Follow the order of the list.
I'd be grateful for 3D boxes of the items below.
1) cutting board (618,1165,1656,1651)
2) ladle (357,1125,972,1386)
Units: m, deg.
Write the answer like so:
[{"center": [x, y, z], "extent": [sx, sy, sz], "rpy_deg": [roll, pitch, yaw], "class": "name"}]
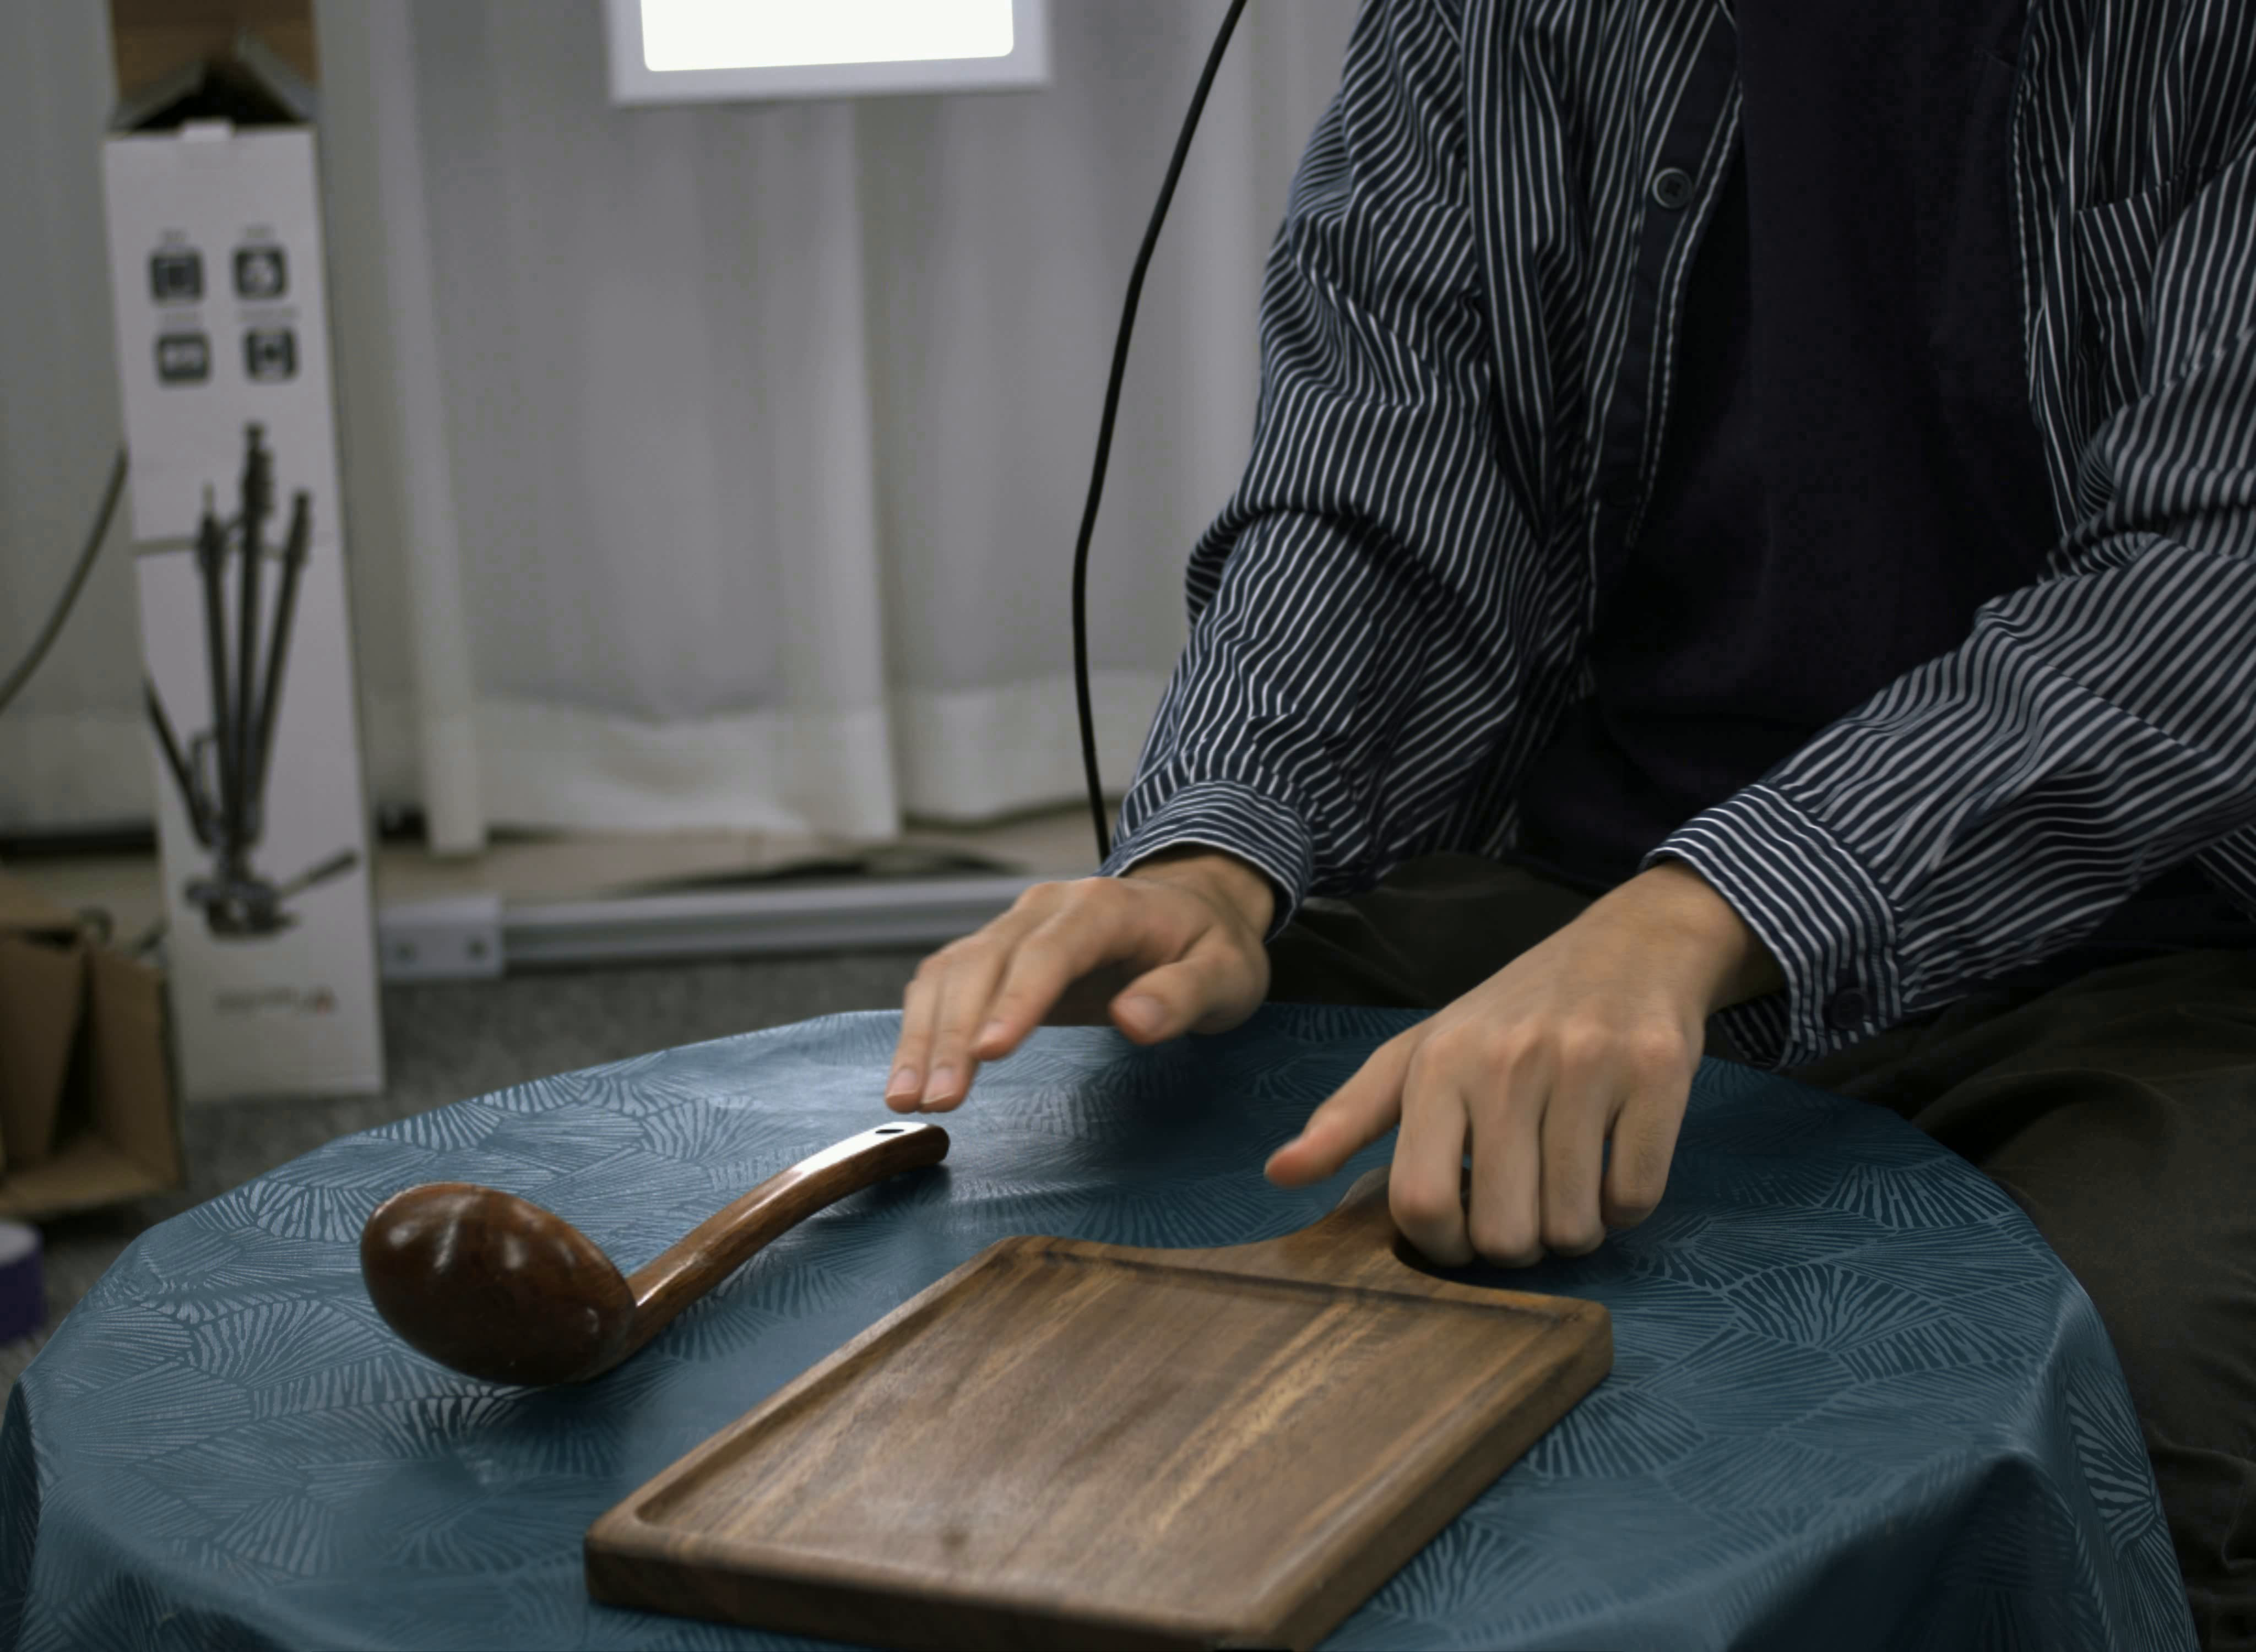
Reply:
[{"center": [0.030, 0.157, 1.513], "extent": [0.201, 0.023, 0.353], "rpy_deg": [5, 16, 27], "class": "cutting board"}, {"center": [-0.130, 0.103, 1.637], "extent": [0.082, 0.076, 0.274], "rpy_deg": [5, 17, 29], "class": "ladle"}]
